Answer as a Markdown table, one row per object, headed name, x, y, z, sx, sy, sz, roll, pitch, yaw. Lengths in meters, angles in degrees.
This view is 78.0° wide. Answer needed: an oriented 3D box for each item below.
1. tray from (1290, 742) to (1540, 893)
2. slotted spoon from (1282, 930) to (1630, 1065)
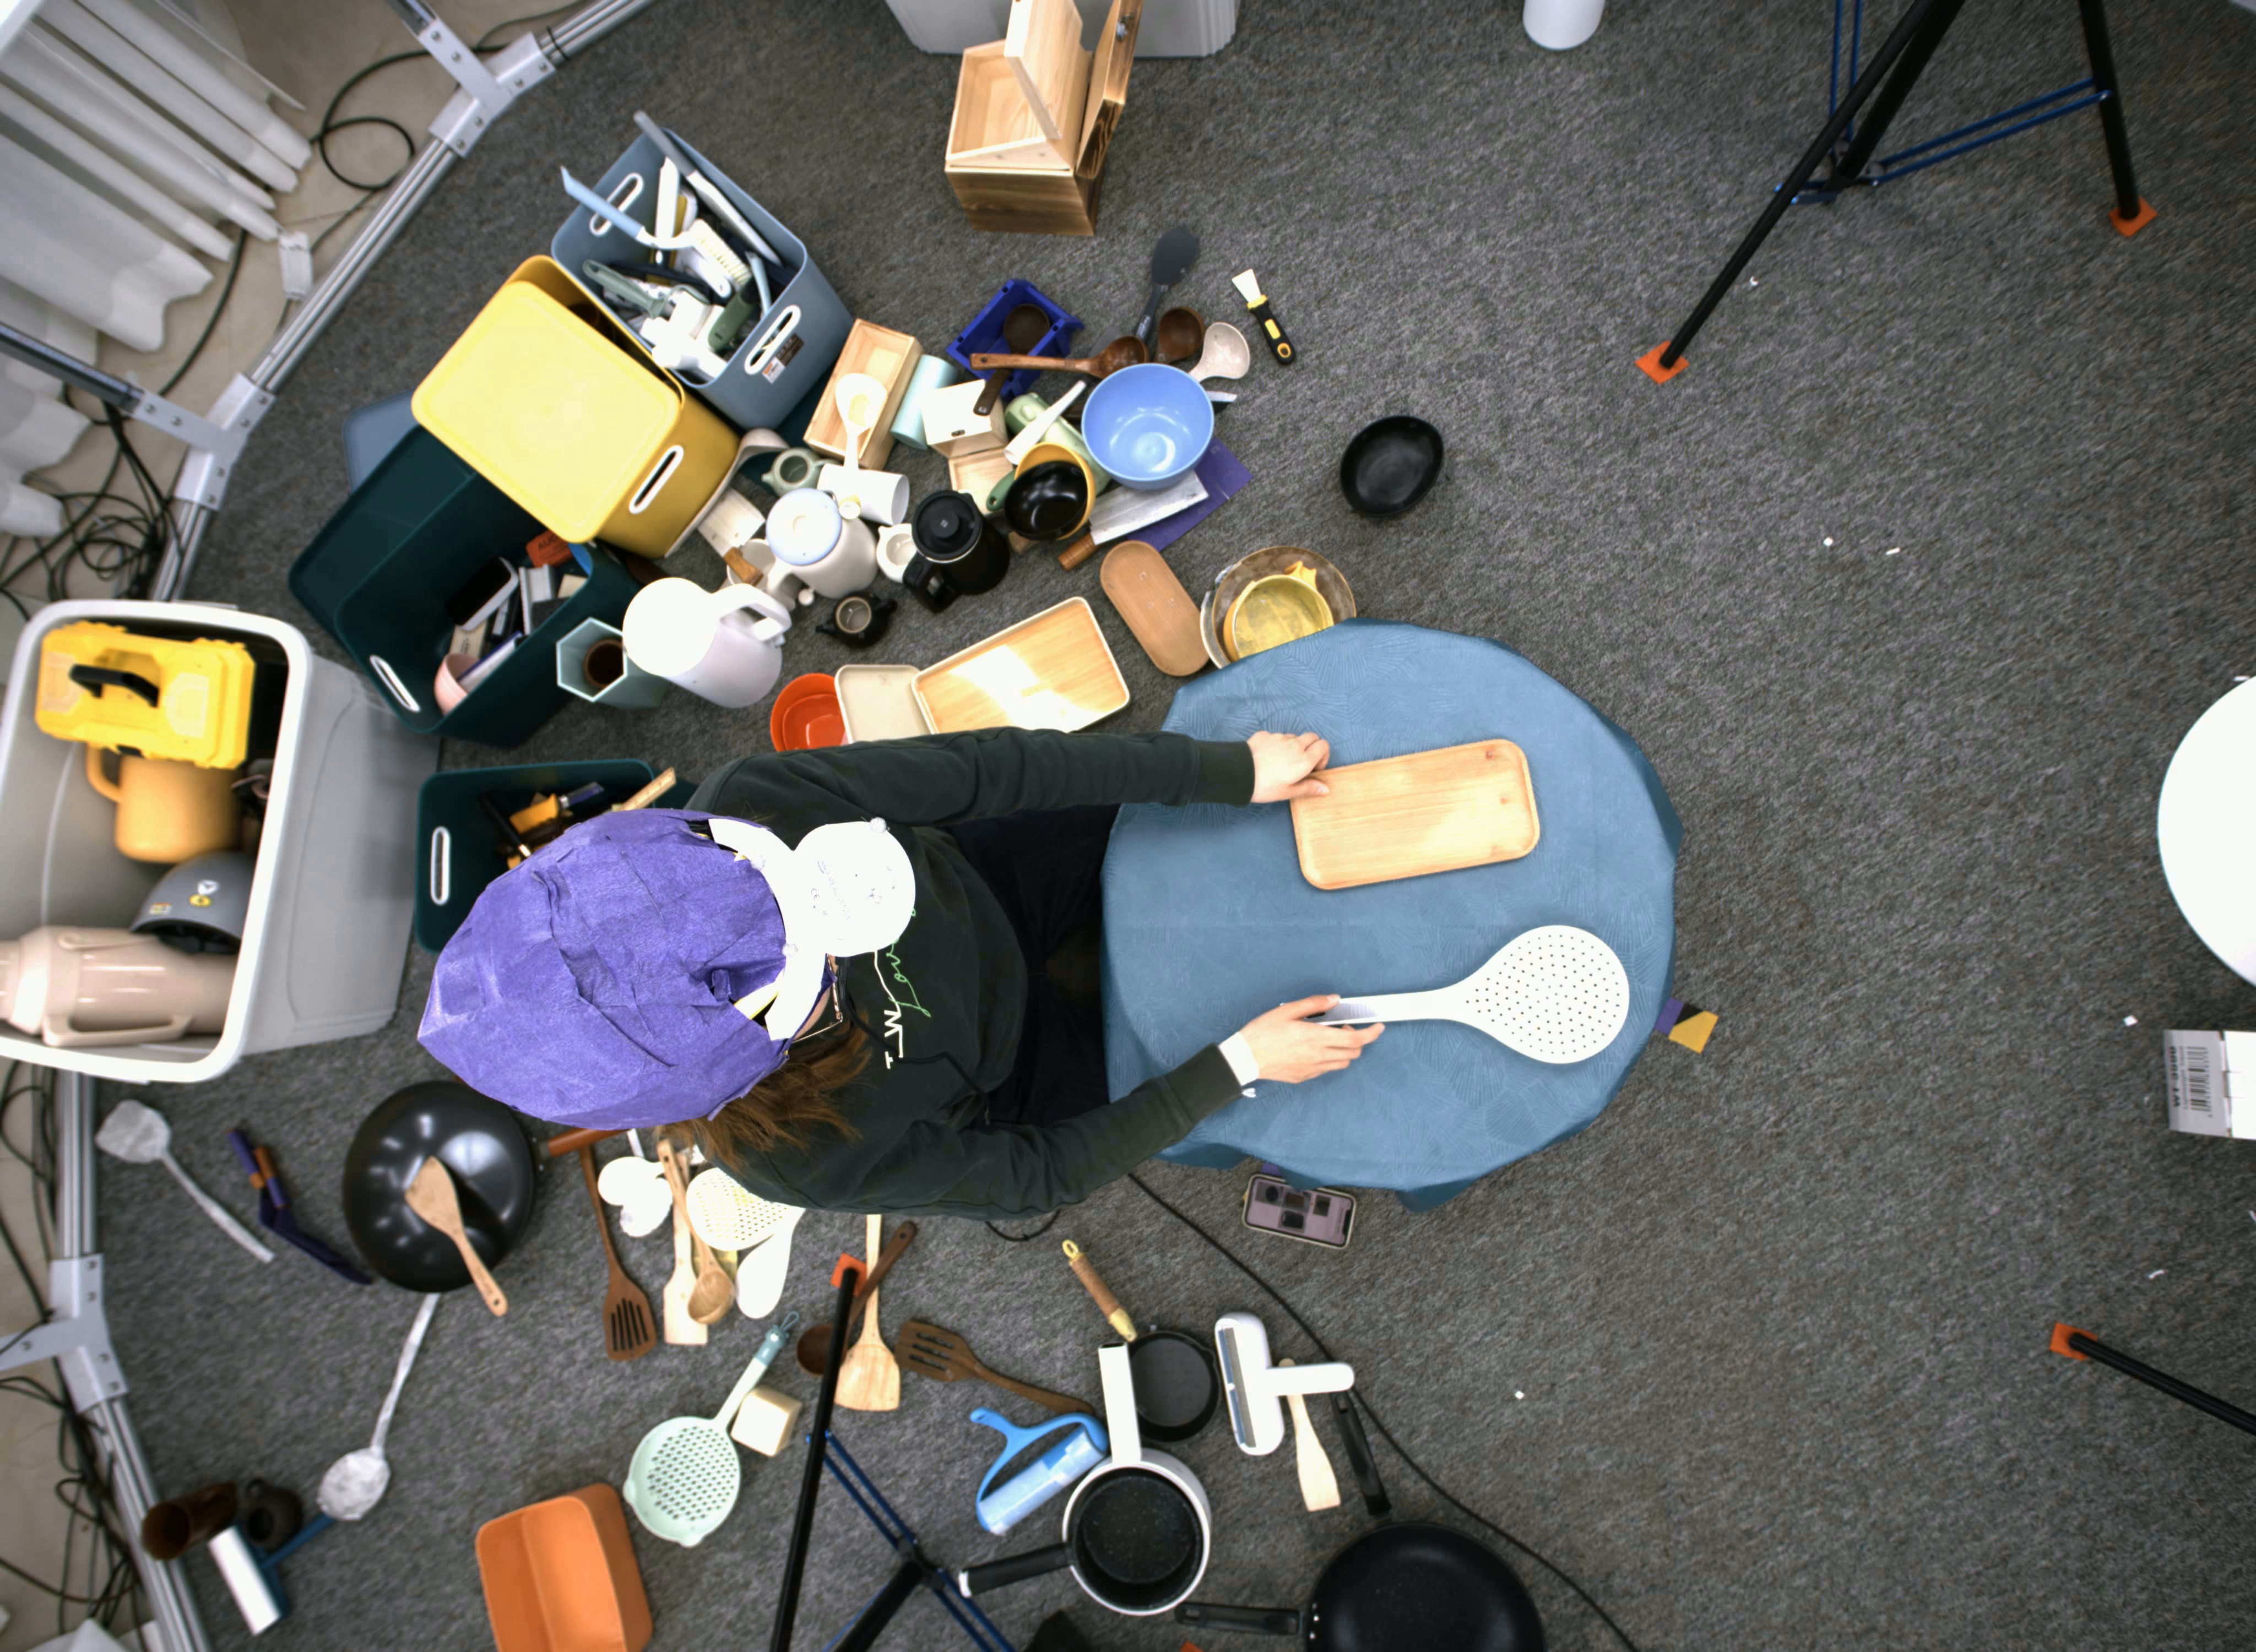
| name | x | y | z | sx | sy | sz | roll | pitch | yaw |
| --- | --- | --- | --- | --- | --- | --- | --- | --- | --- |
| tray | 0.302 | -0.010 | 1.456 | 0.252 | 0.023 | 0.129 | -10 | 83 | 10 |
| slotted spoon | 0.333 | 0.183 | 1.423 | 0.351 | 0.046 | 0.135 | -6 | 83 | 11 |
